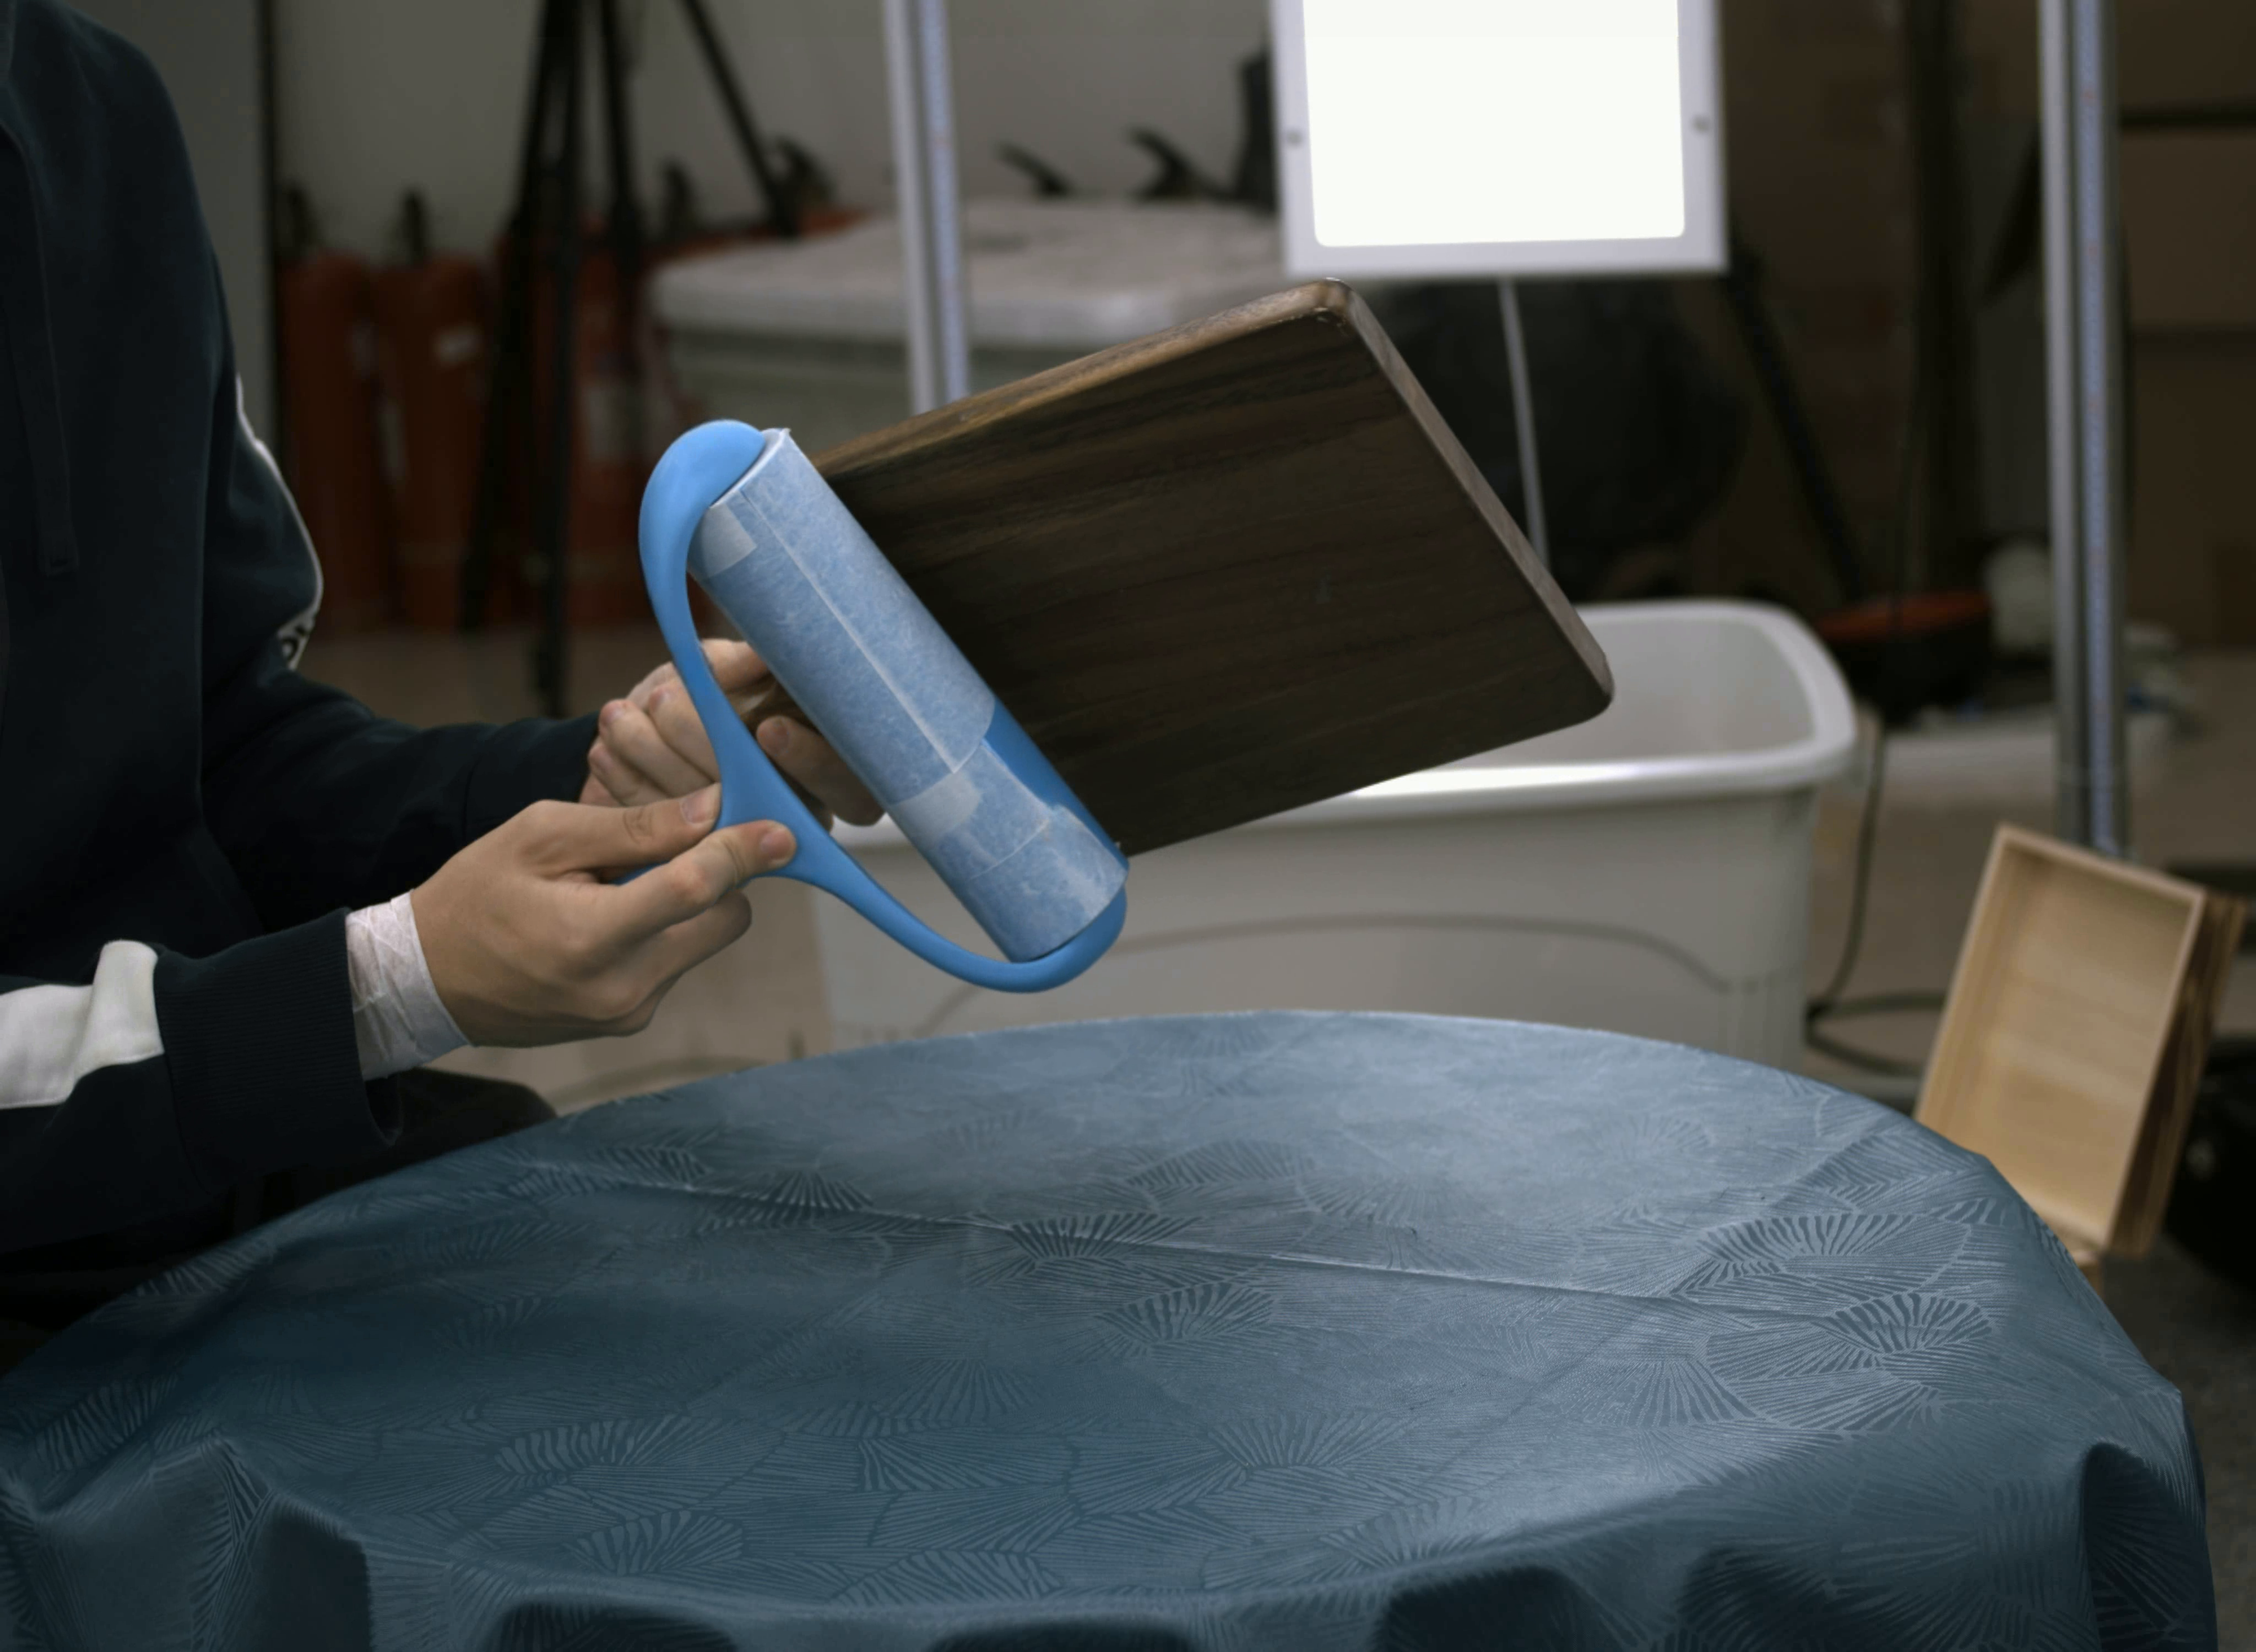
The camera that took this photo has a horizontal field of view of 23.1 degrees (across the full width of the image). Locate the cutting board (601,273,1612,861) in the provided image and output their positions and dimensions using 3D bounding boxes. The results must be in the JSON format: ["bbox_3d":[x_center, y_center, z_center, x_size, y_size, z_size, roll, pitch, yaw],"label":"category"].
[{"bbox_3d":[-0.031,-0.063,1.862,0.359,0.199,0.023,-17,38,30],"label":"cutting board"}]

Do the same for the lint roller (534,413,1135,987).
[{"bbox_3d":[-0.121,-0.005,1.827,0.181,0.227,0.068,-40,18,6],"label":"lint roller"}]
